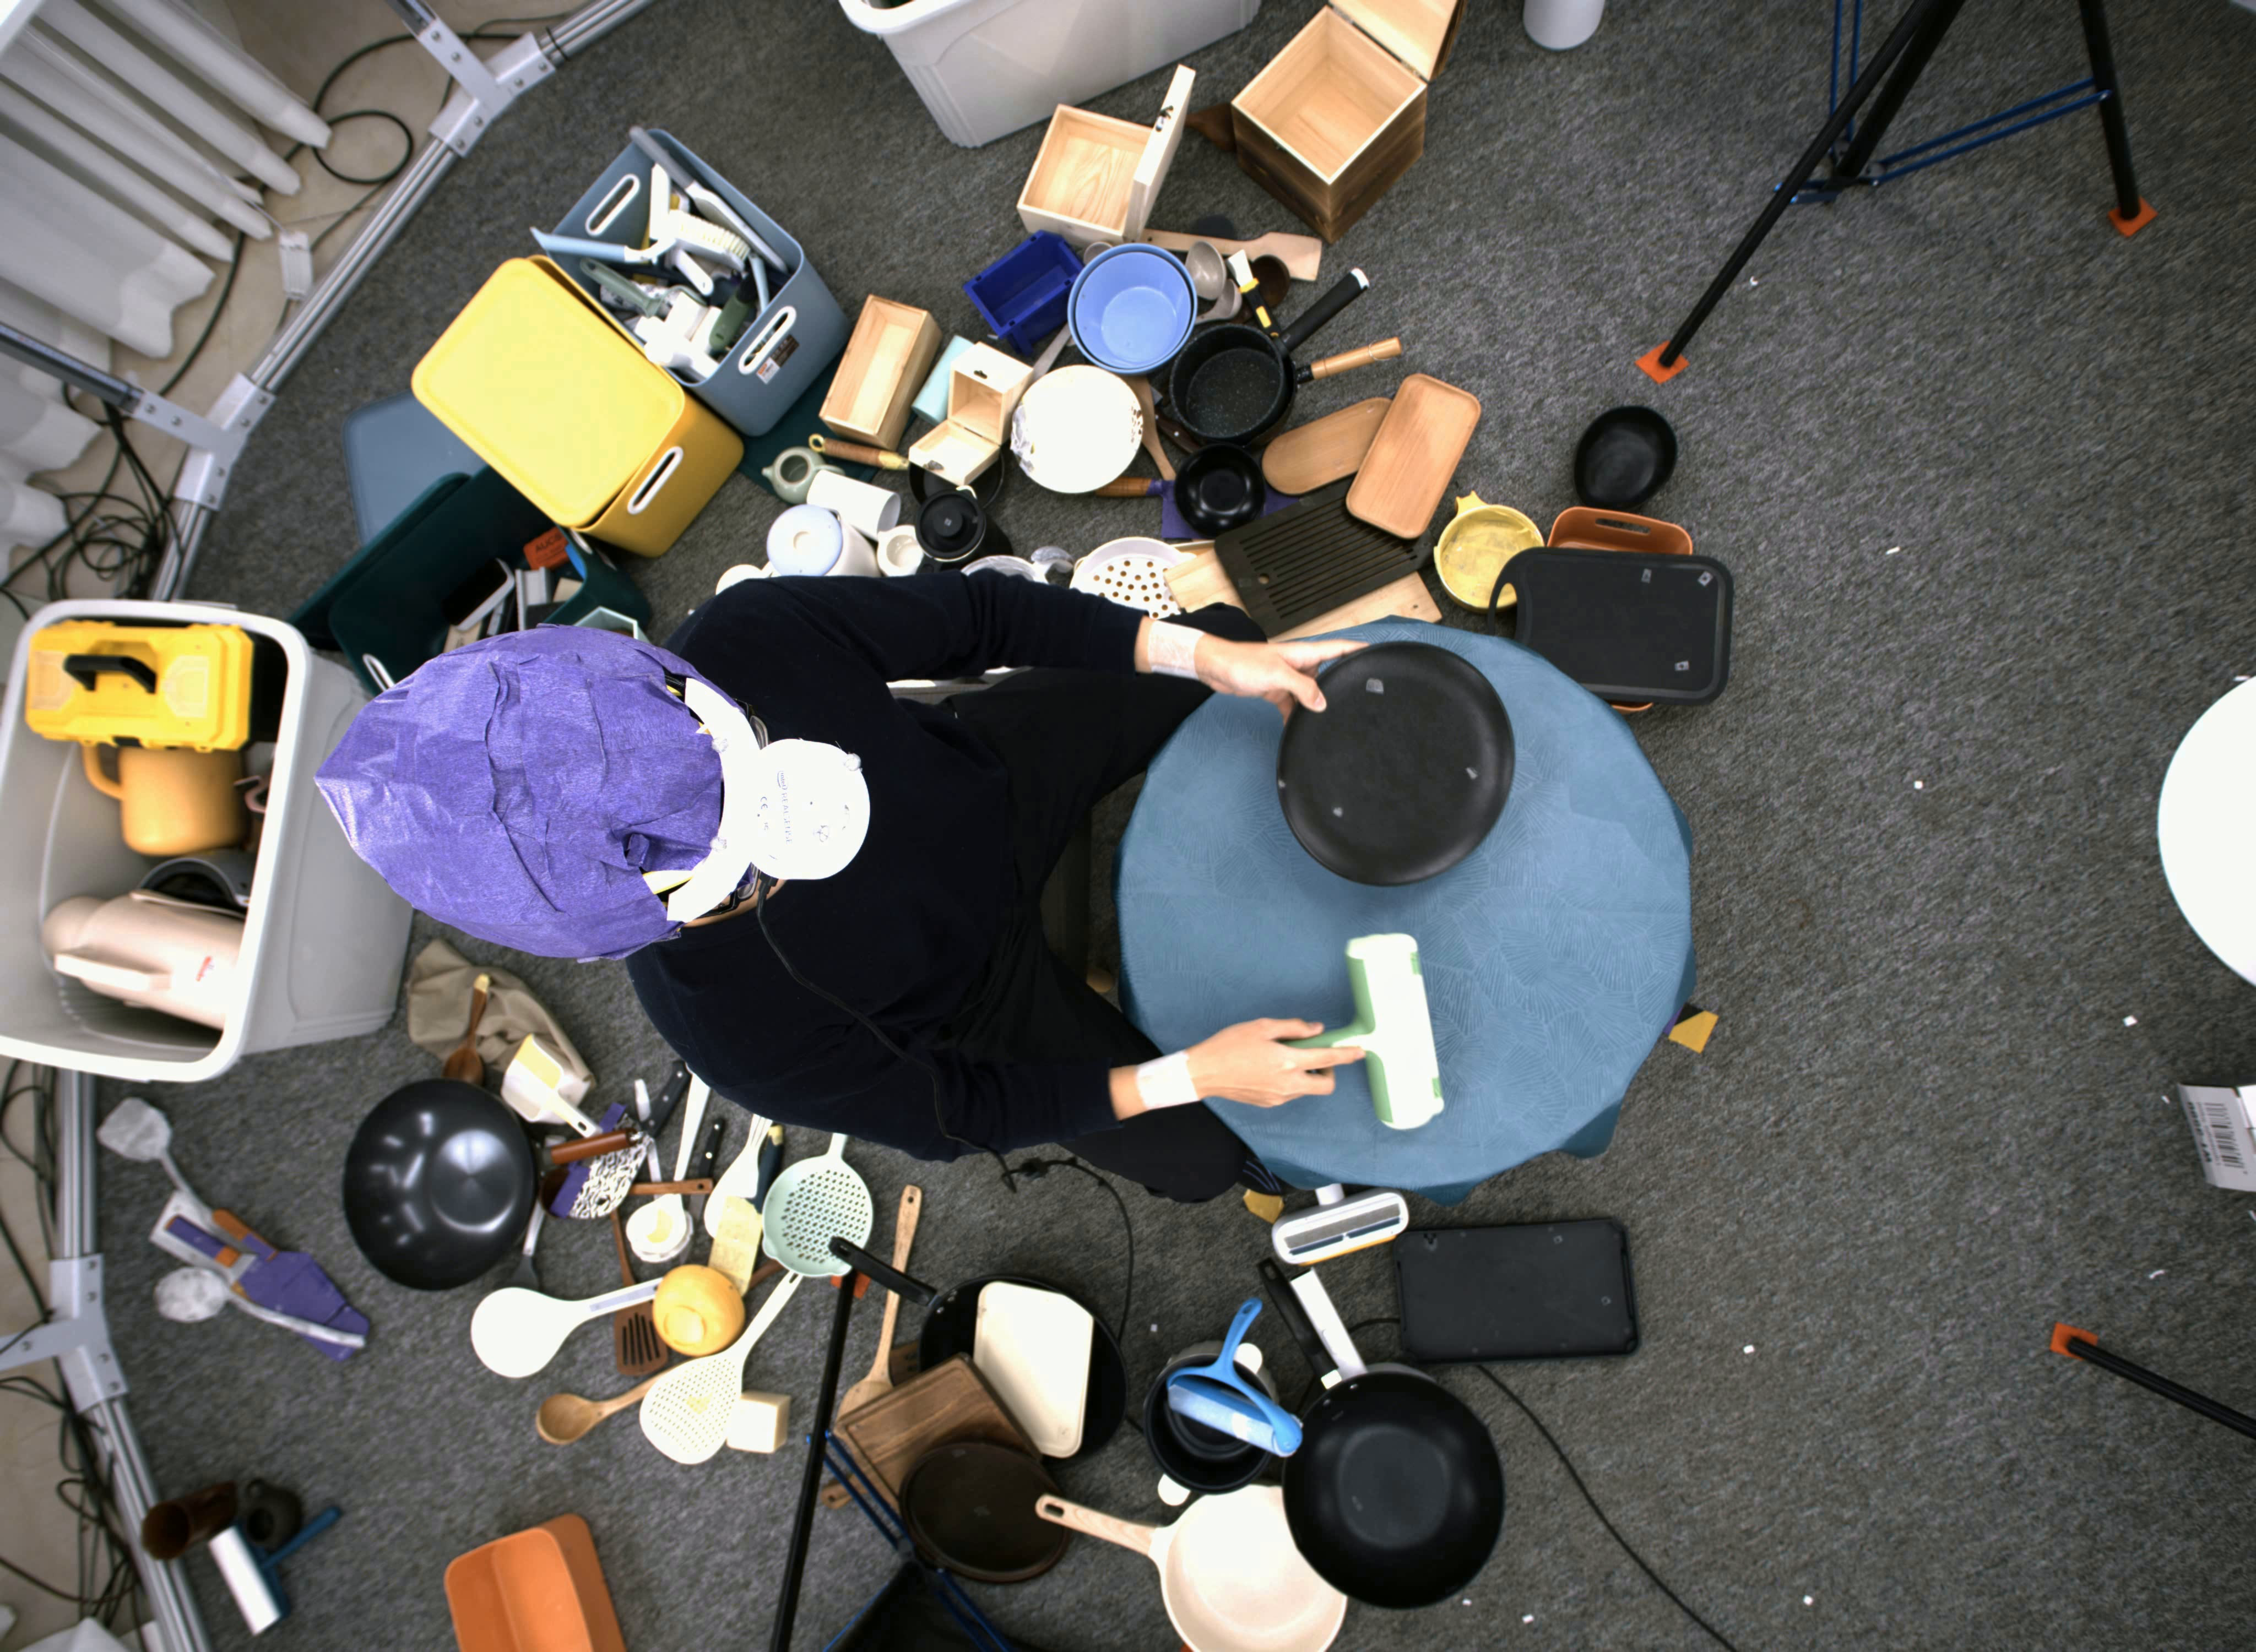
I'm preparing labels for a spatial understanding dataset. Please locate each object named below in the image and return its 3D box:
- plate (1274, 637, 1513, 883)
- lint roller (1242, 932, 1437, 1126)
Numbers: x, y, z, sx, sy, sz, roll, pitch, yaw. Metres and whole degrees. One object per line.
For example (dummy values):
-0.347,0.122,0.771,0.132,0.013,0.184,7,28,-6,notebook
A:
0.258,-0.065,1.343,0.244,0.023,0.247,-2,107,-8,plate
0.206,0.219,1.345,0.182,0.081,0.201,-20,109,-14,lint roller
